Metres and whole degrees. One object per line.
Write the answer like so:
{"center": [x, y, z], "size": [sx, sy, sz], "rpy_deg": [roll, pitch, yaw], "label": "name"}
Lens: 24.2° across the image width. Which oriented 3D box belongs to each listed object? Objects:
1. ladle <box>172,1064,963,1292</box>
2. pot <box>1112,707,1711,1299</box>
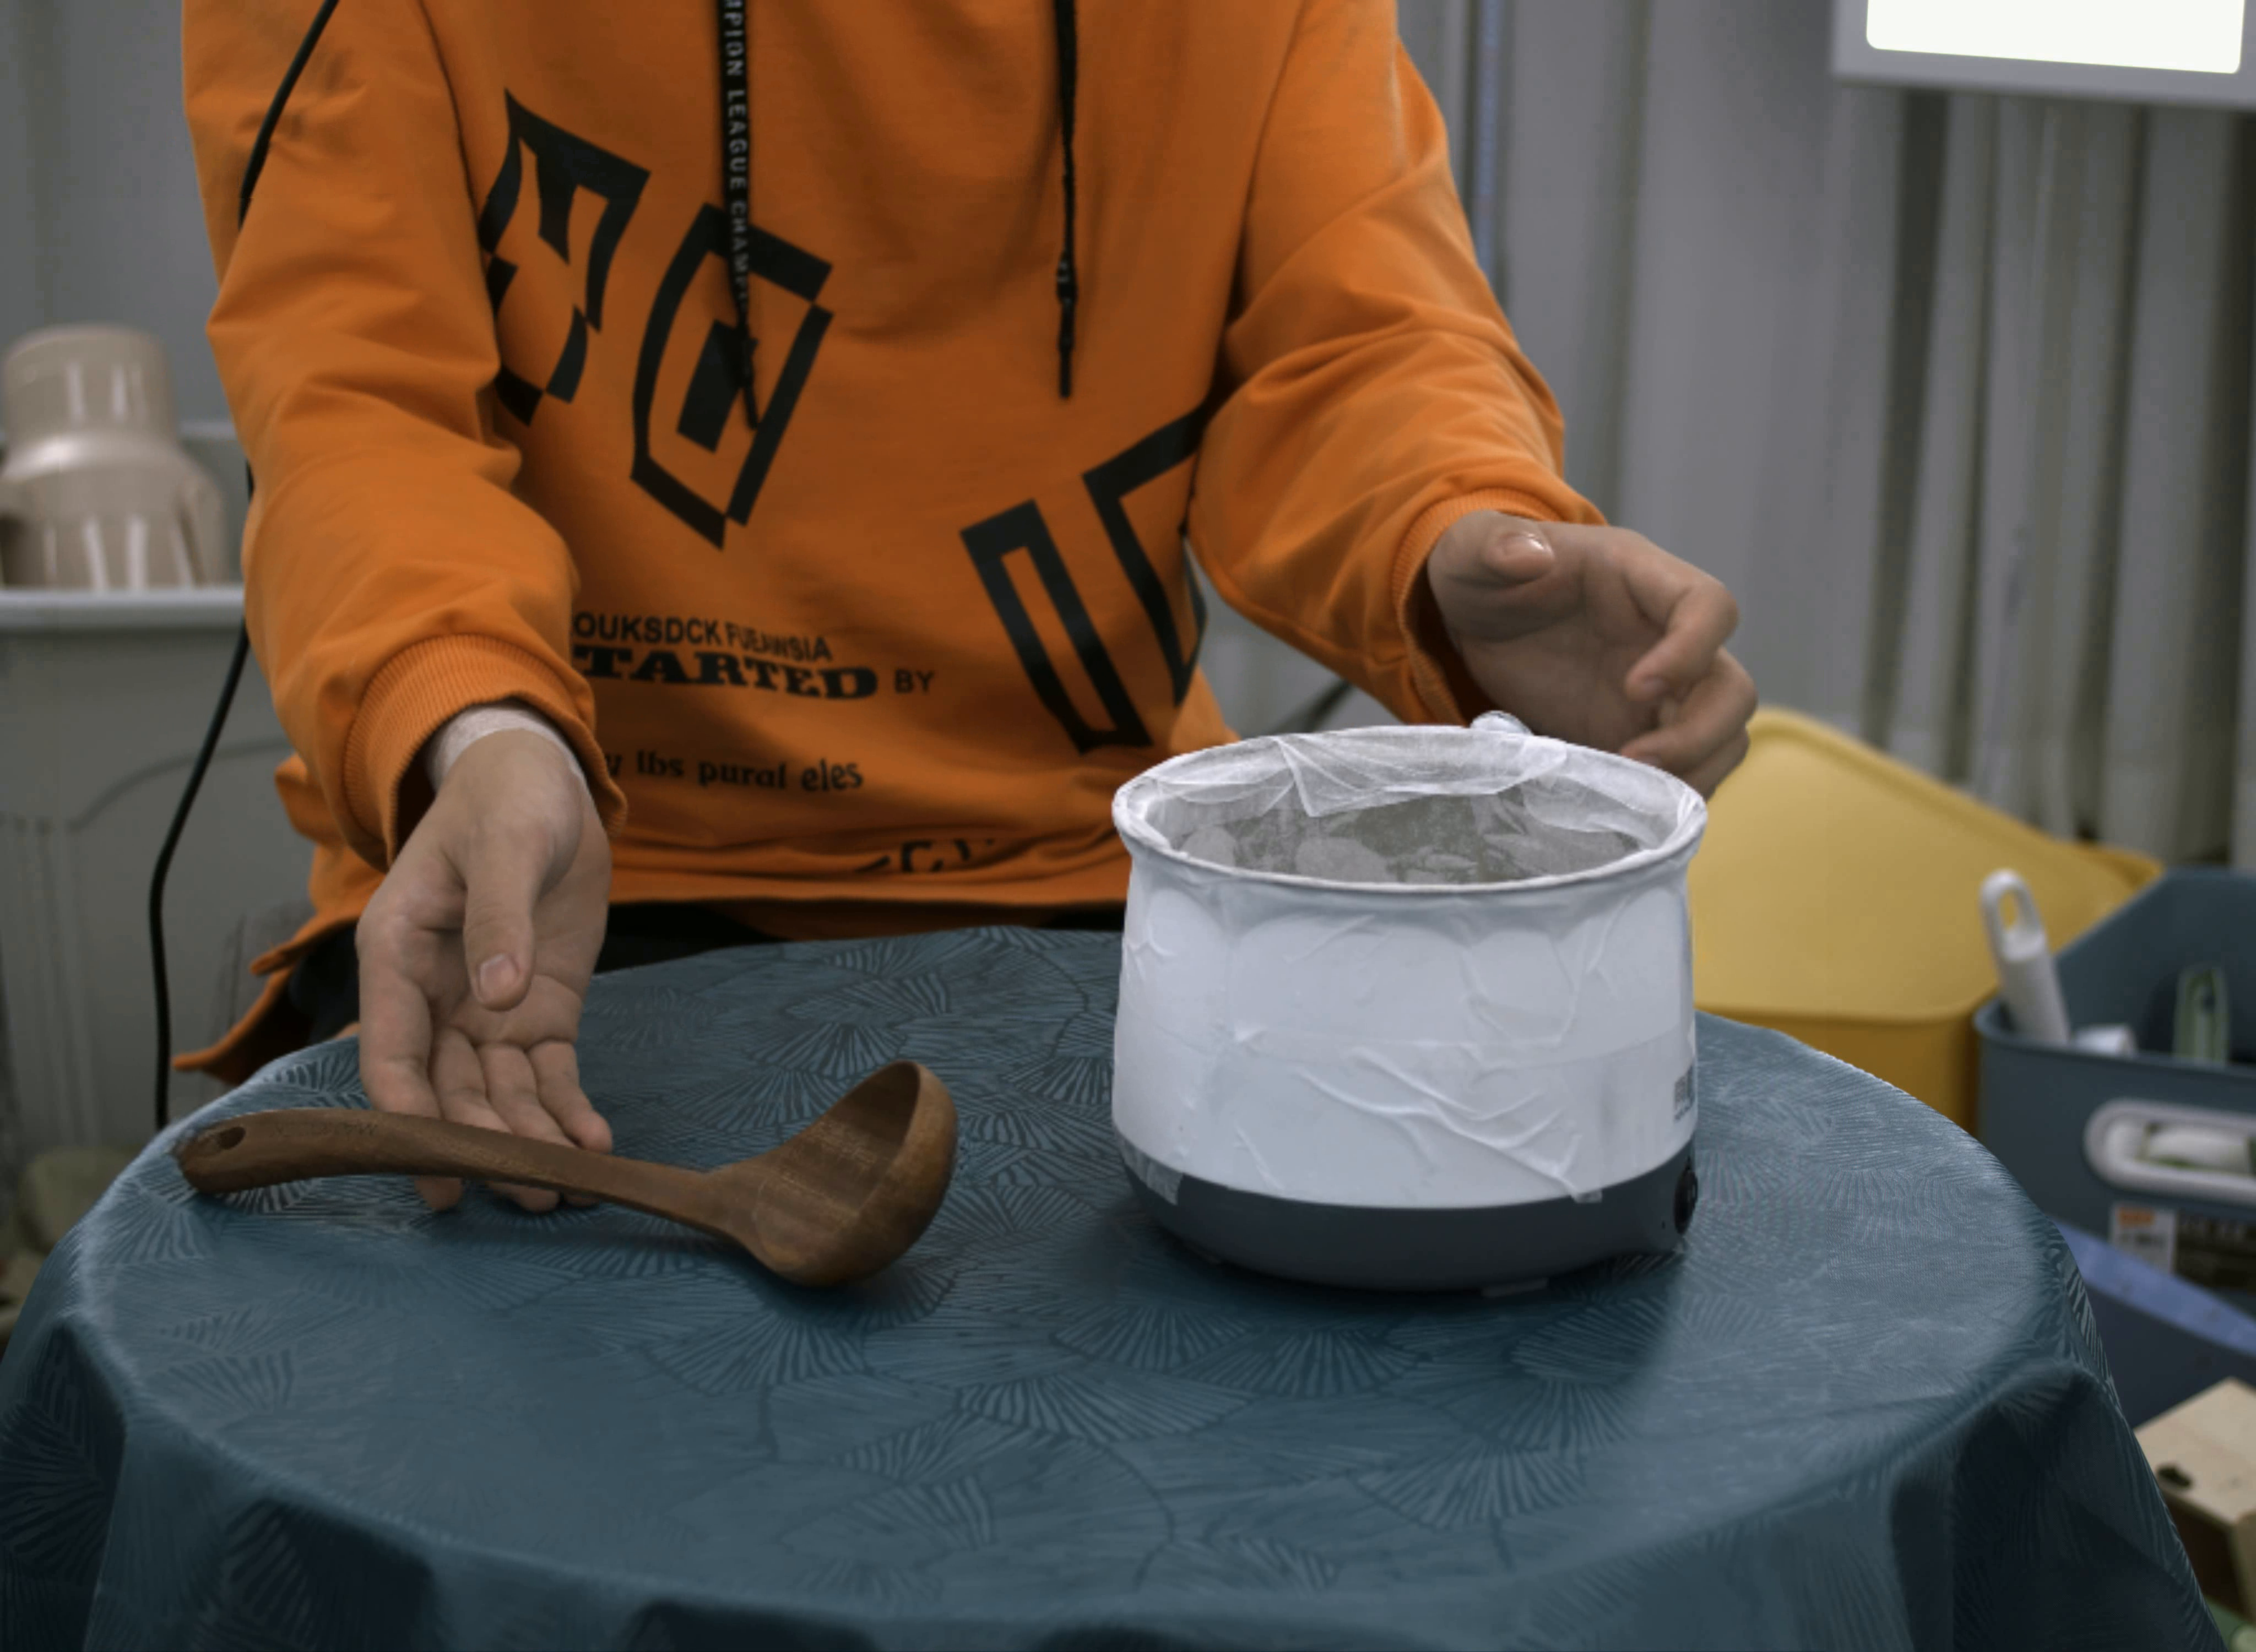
{"center": [-0.172, 0.095, 1.567], "size": [0.258, 0.066, 0.076], "rpy_deg": [6, 42, 16], "label": "ladle"}
{"center": [0.092, 0.047, 1.603], "size": [0.177, 0.138, 0.233], "rpy_deg": [6, 17, 16], "label": "pot"}
